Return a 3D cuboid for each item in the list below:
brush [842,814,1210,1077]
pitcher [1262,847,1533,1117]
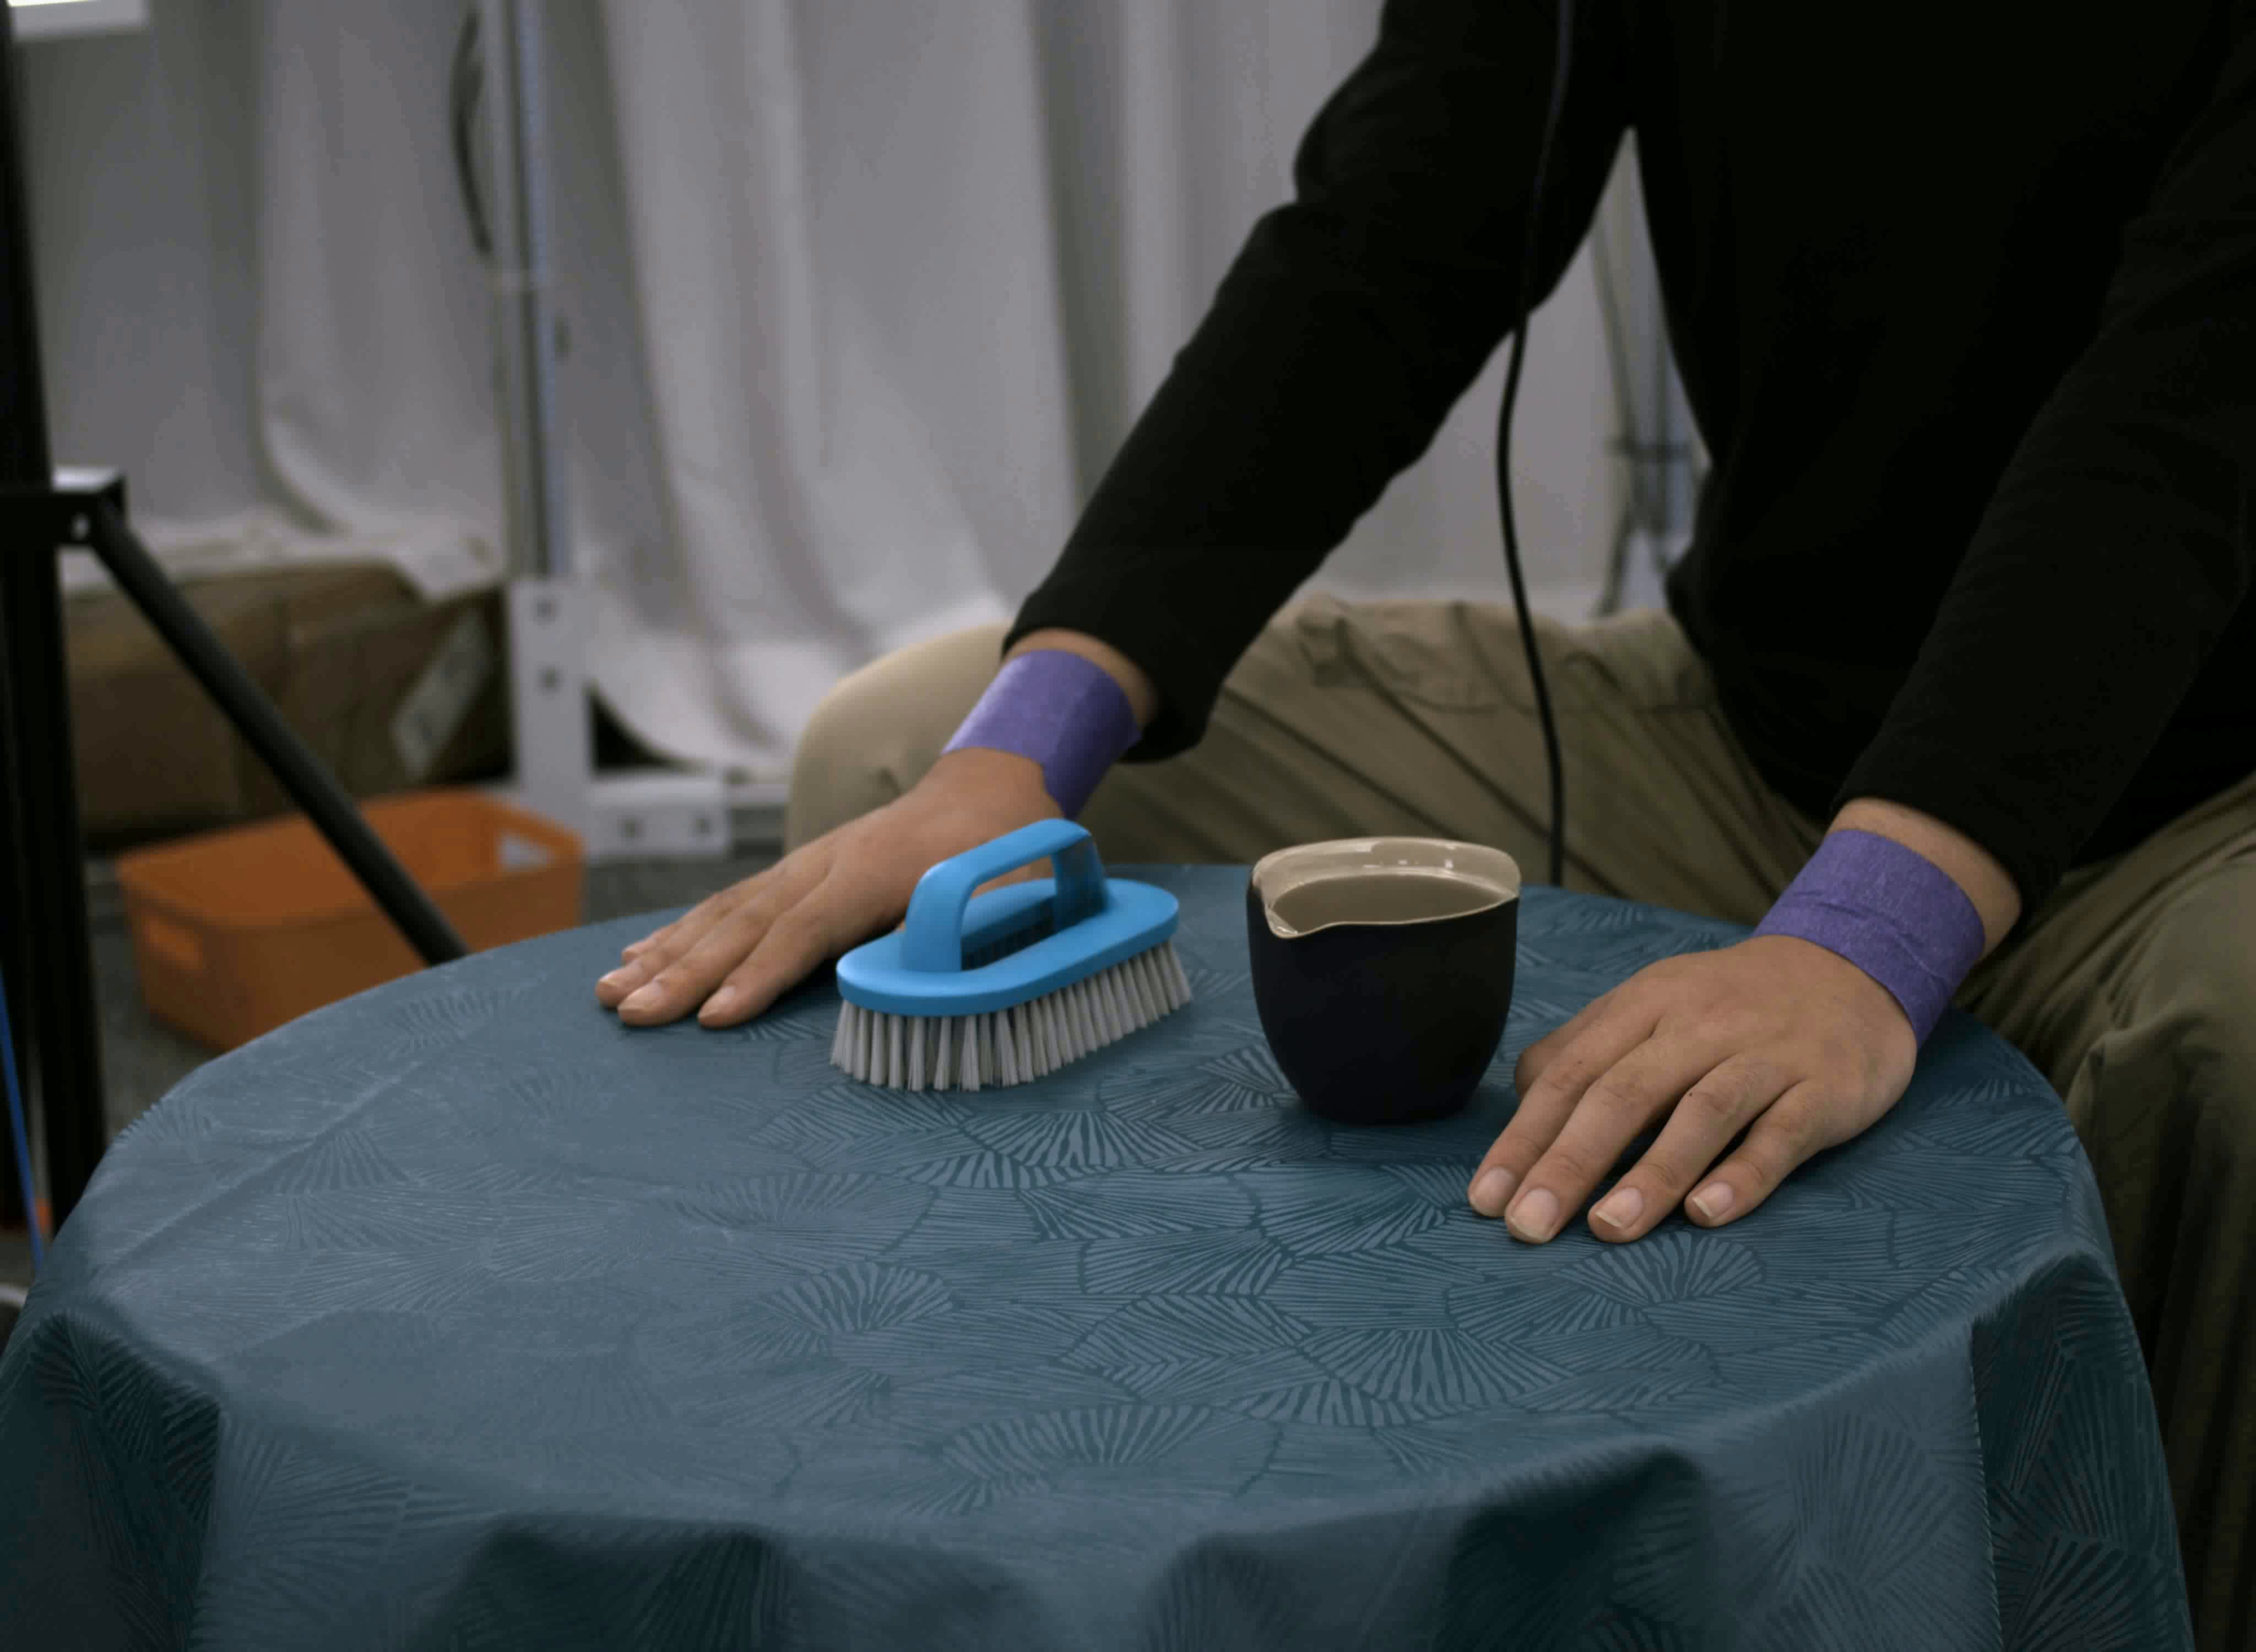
[{"bbox_3d":[-0.035,0.033,1.708,0.086,0.064,0.139,4,16,37],"label":"brush"},{"bbox_3d":[0.079,0.049,1.617,0.085,0.071,0.094,13,23,40],"label":"pitcher"}]
